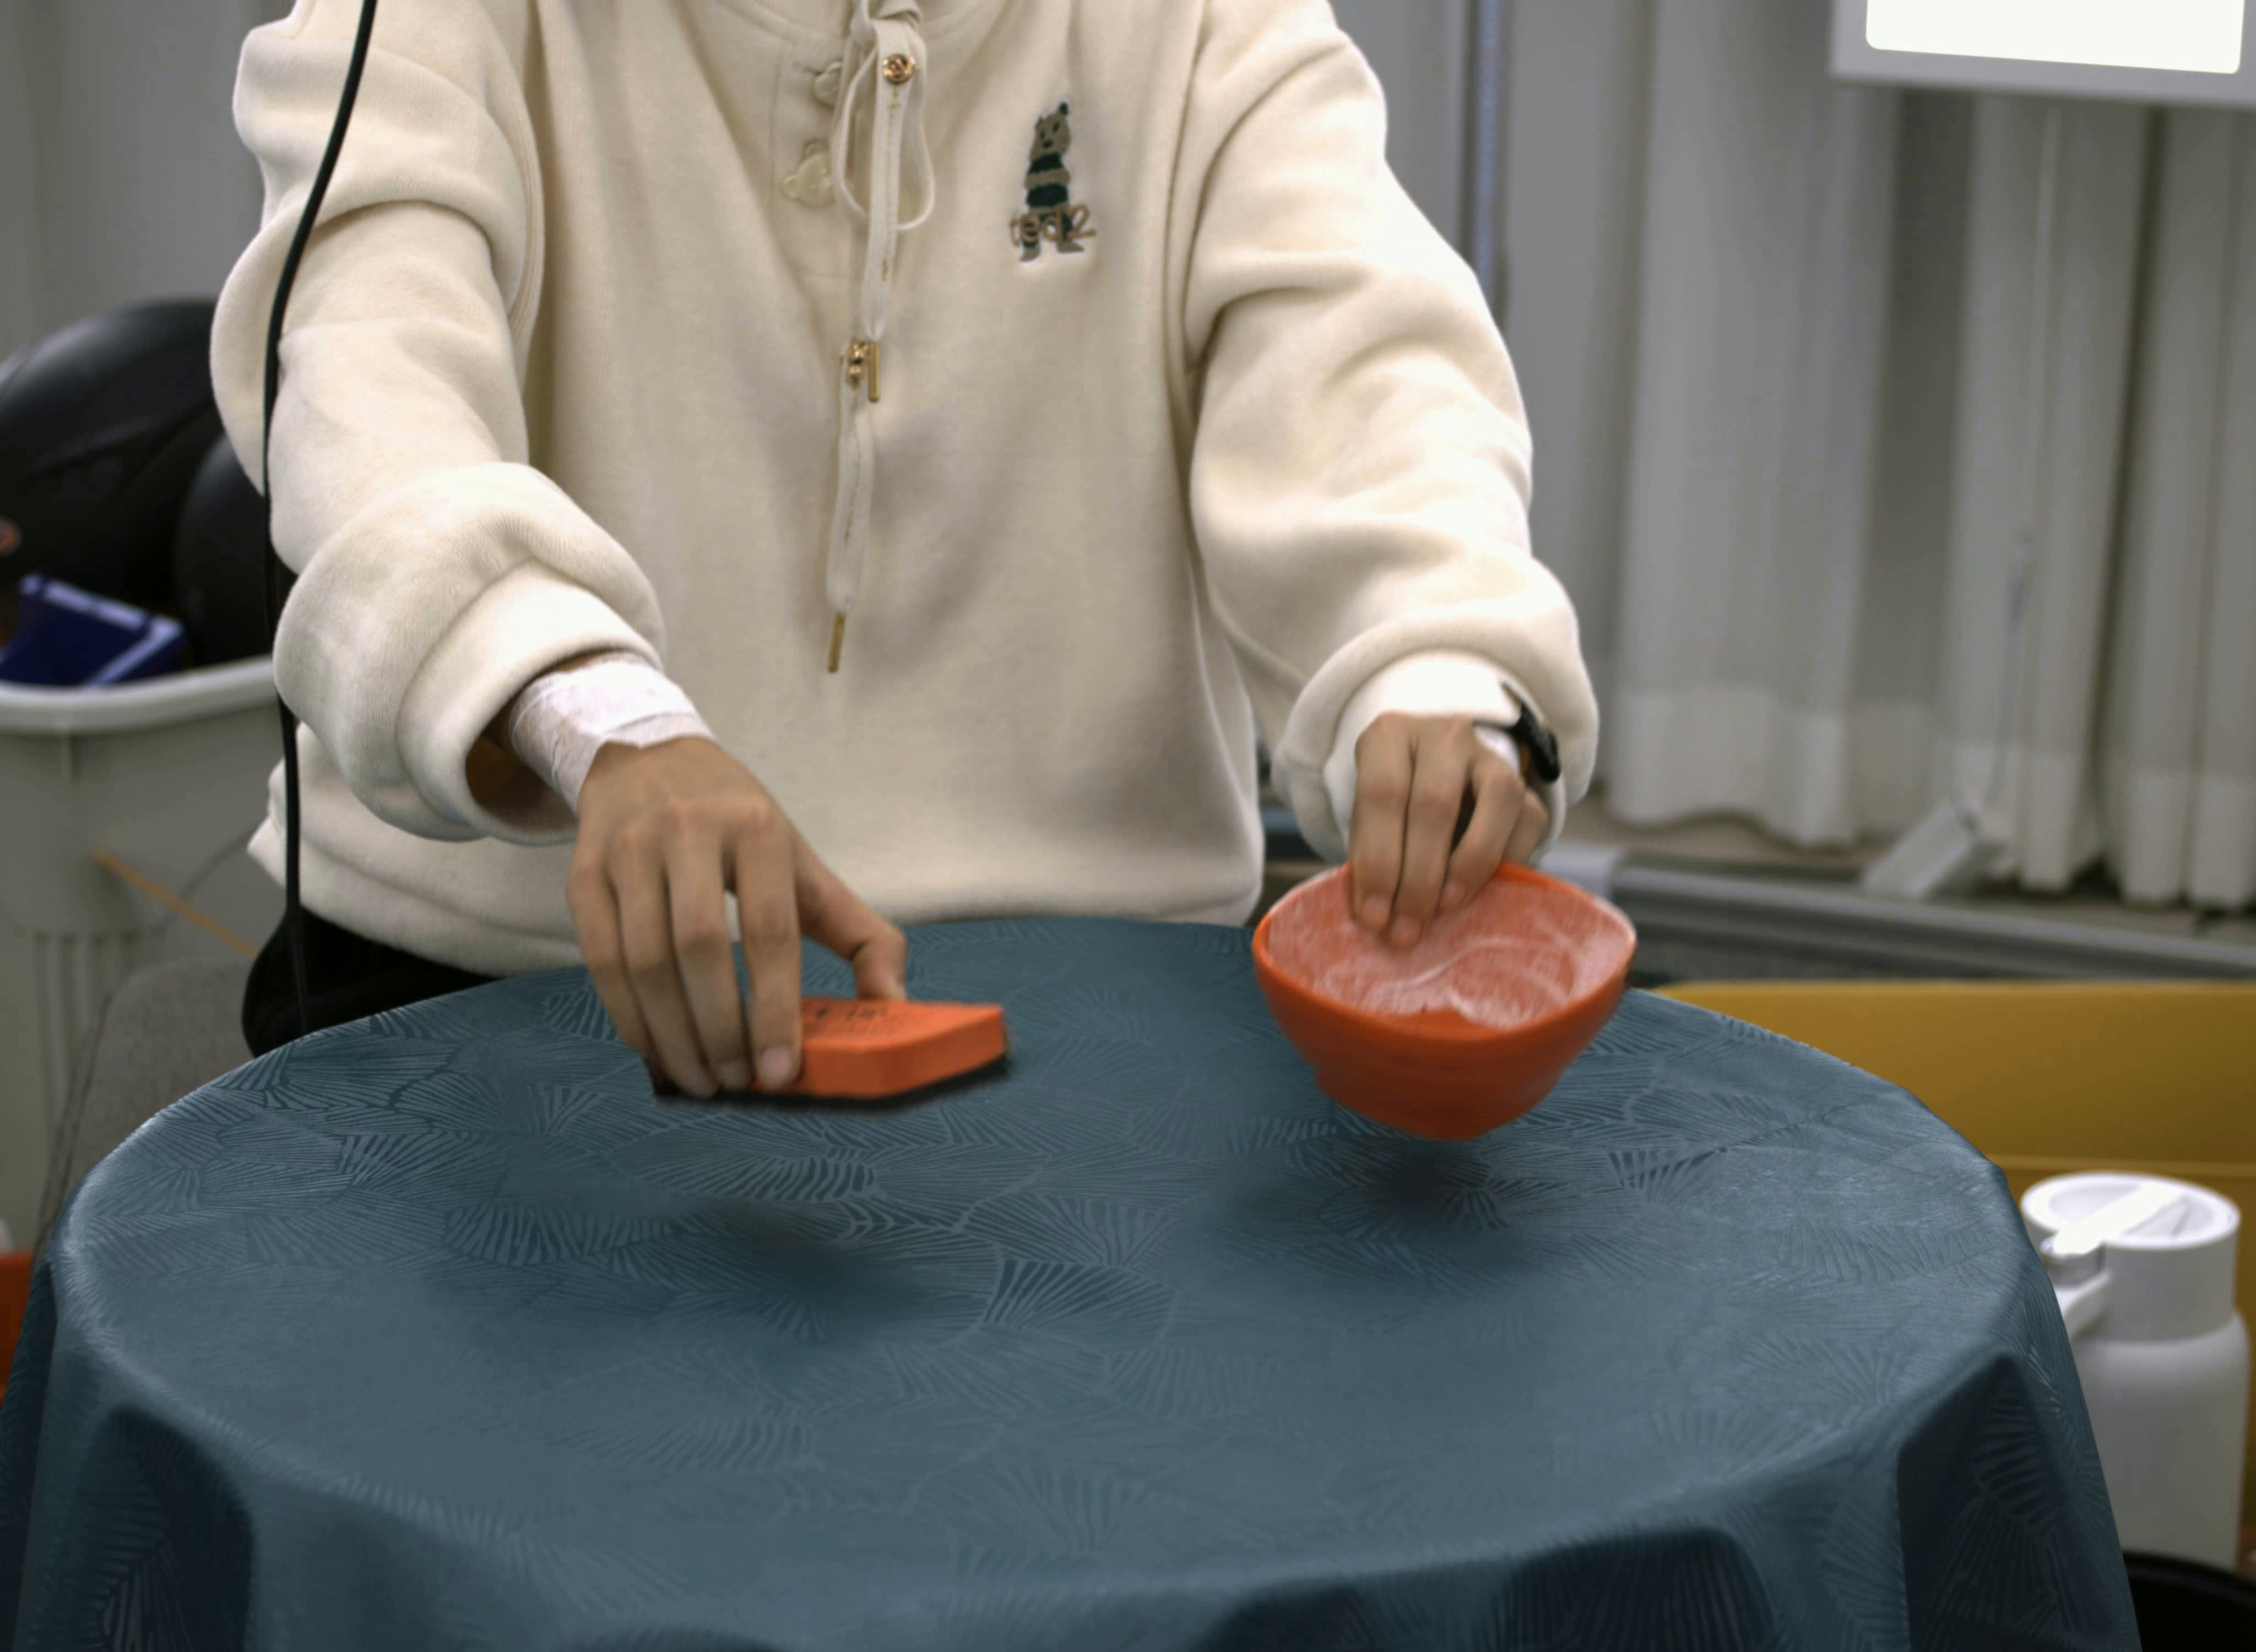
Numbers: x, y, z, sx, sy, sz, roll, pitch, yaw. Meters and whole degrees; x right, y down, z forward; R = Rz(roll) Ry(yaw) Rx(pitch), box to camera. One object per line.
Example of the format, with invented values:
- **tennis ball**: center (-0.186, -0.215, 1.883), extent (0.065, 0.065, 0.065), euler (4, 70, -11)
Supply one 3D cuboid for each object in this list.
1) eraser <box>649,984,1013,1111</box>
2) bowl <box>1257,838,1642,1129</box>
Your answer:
- **eraser**: center (-0.089, 0.065, 1.567), extent (0.107, 0.023, 0.059), euler (0, 14, 43)
- **bowl**: center (0.099, 0.052, 1.622), extent (0.118, 0.052, 0.118), euler (0, 28, 0)
